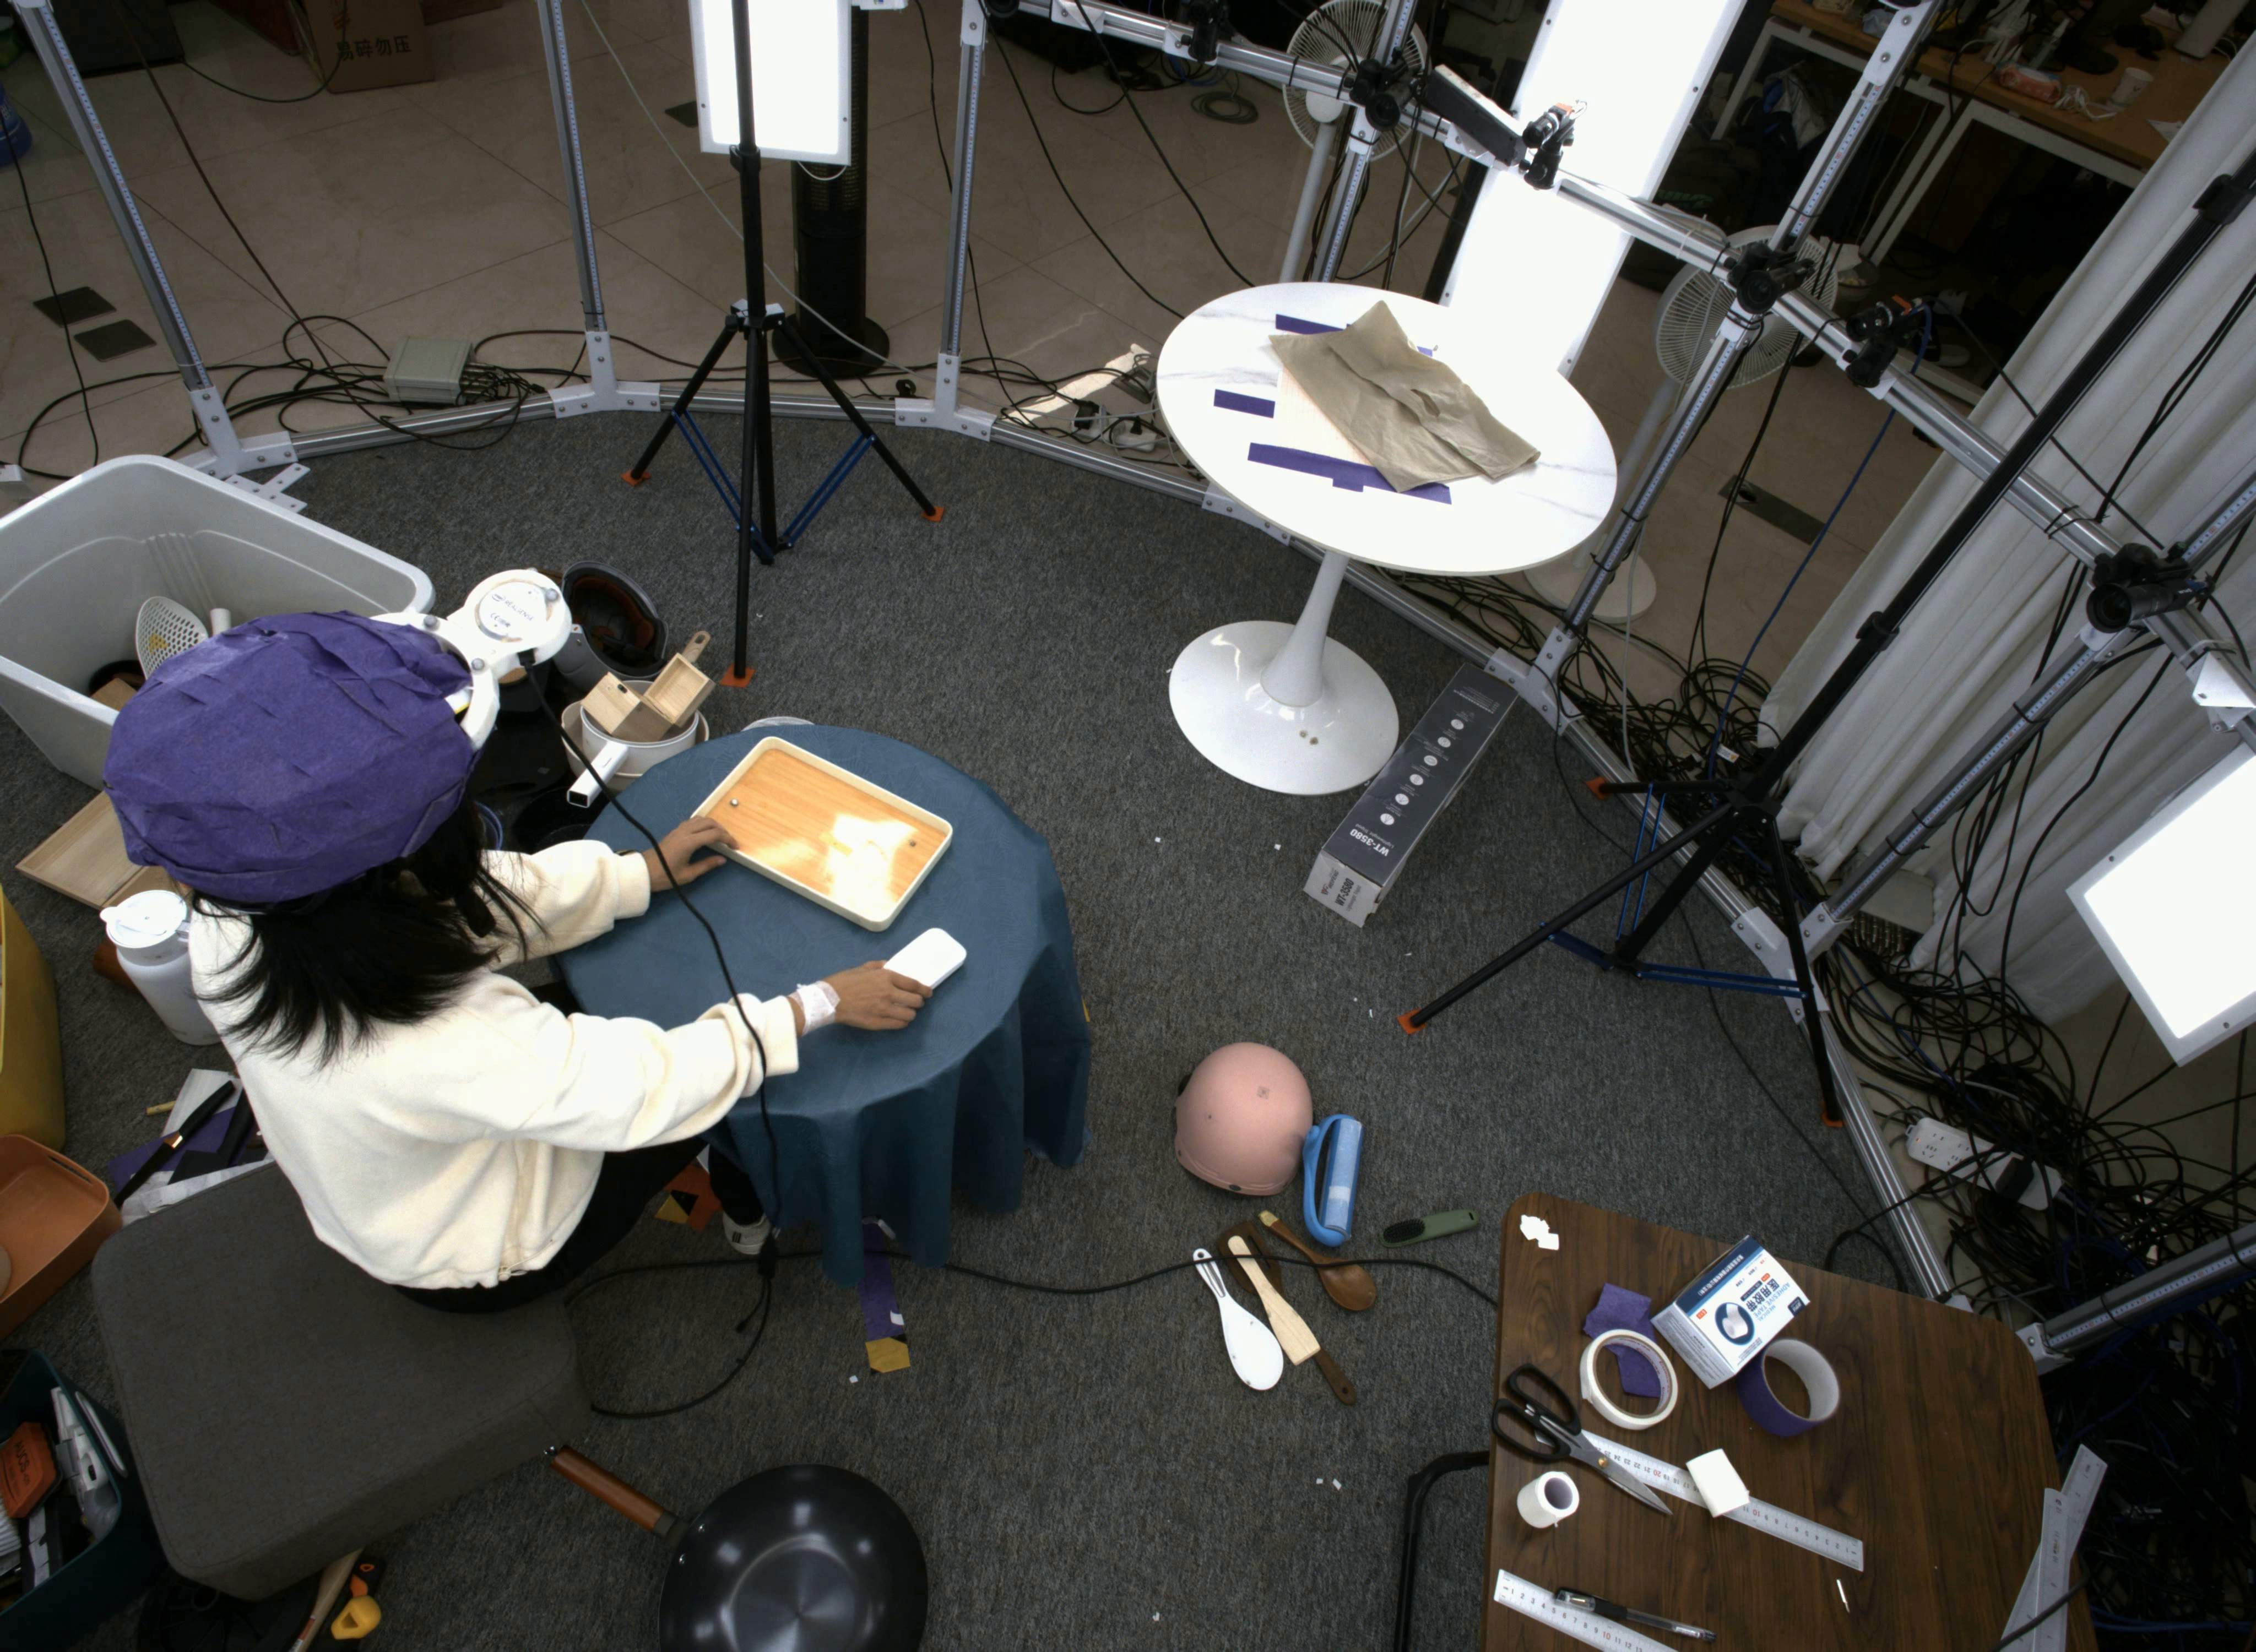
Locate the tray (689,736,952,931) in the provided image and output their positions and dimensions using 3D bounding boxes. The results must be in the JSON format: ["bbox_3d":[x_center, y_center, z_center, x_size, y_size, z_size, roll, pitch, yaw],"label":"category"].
[{"bbox_3d":[-0.402,0.004,1.704,0.296,0.028,0.190,26,52,5],"label":"tray"}]

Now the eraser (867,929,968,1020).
[{"bbox_3d":[-0.261,0.179,1.608,0.062,0.035,0.131,40,54,16],"label":"eraser"}]
